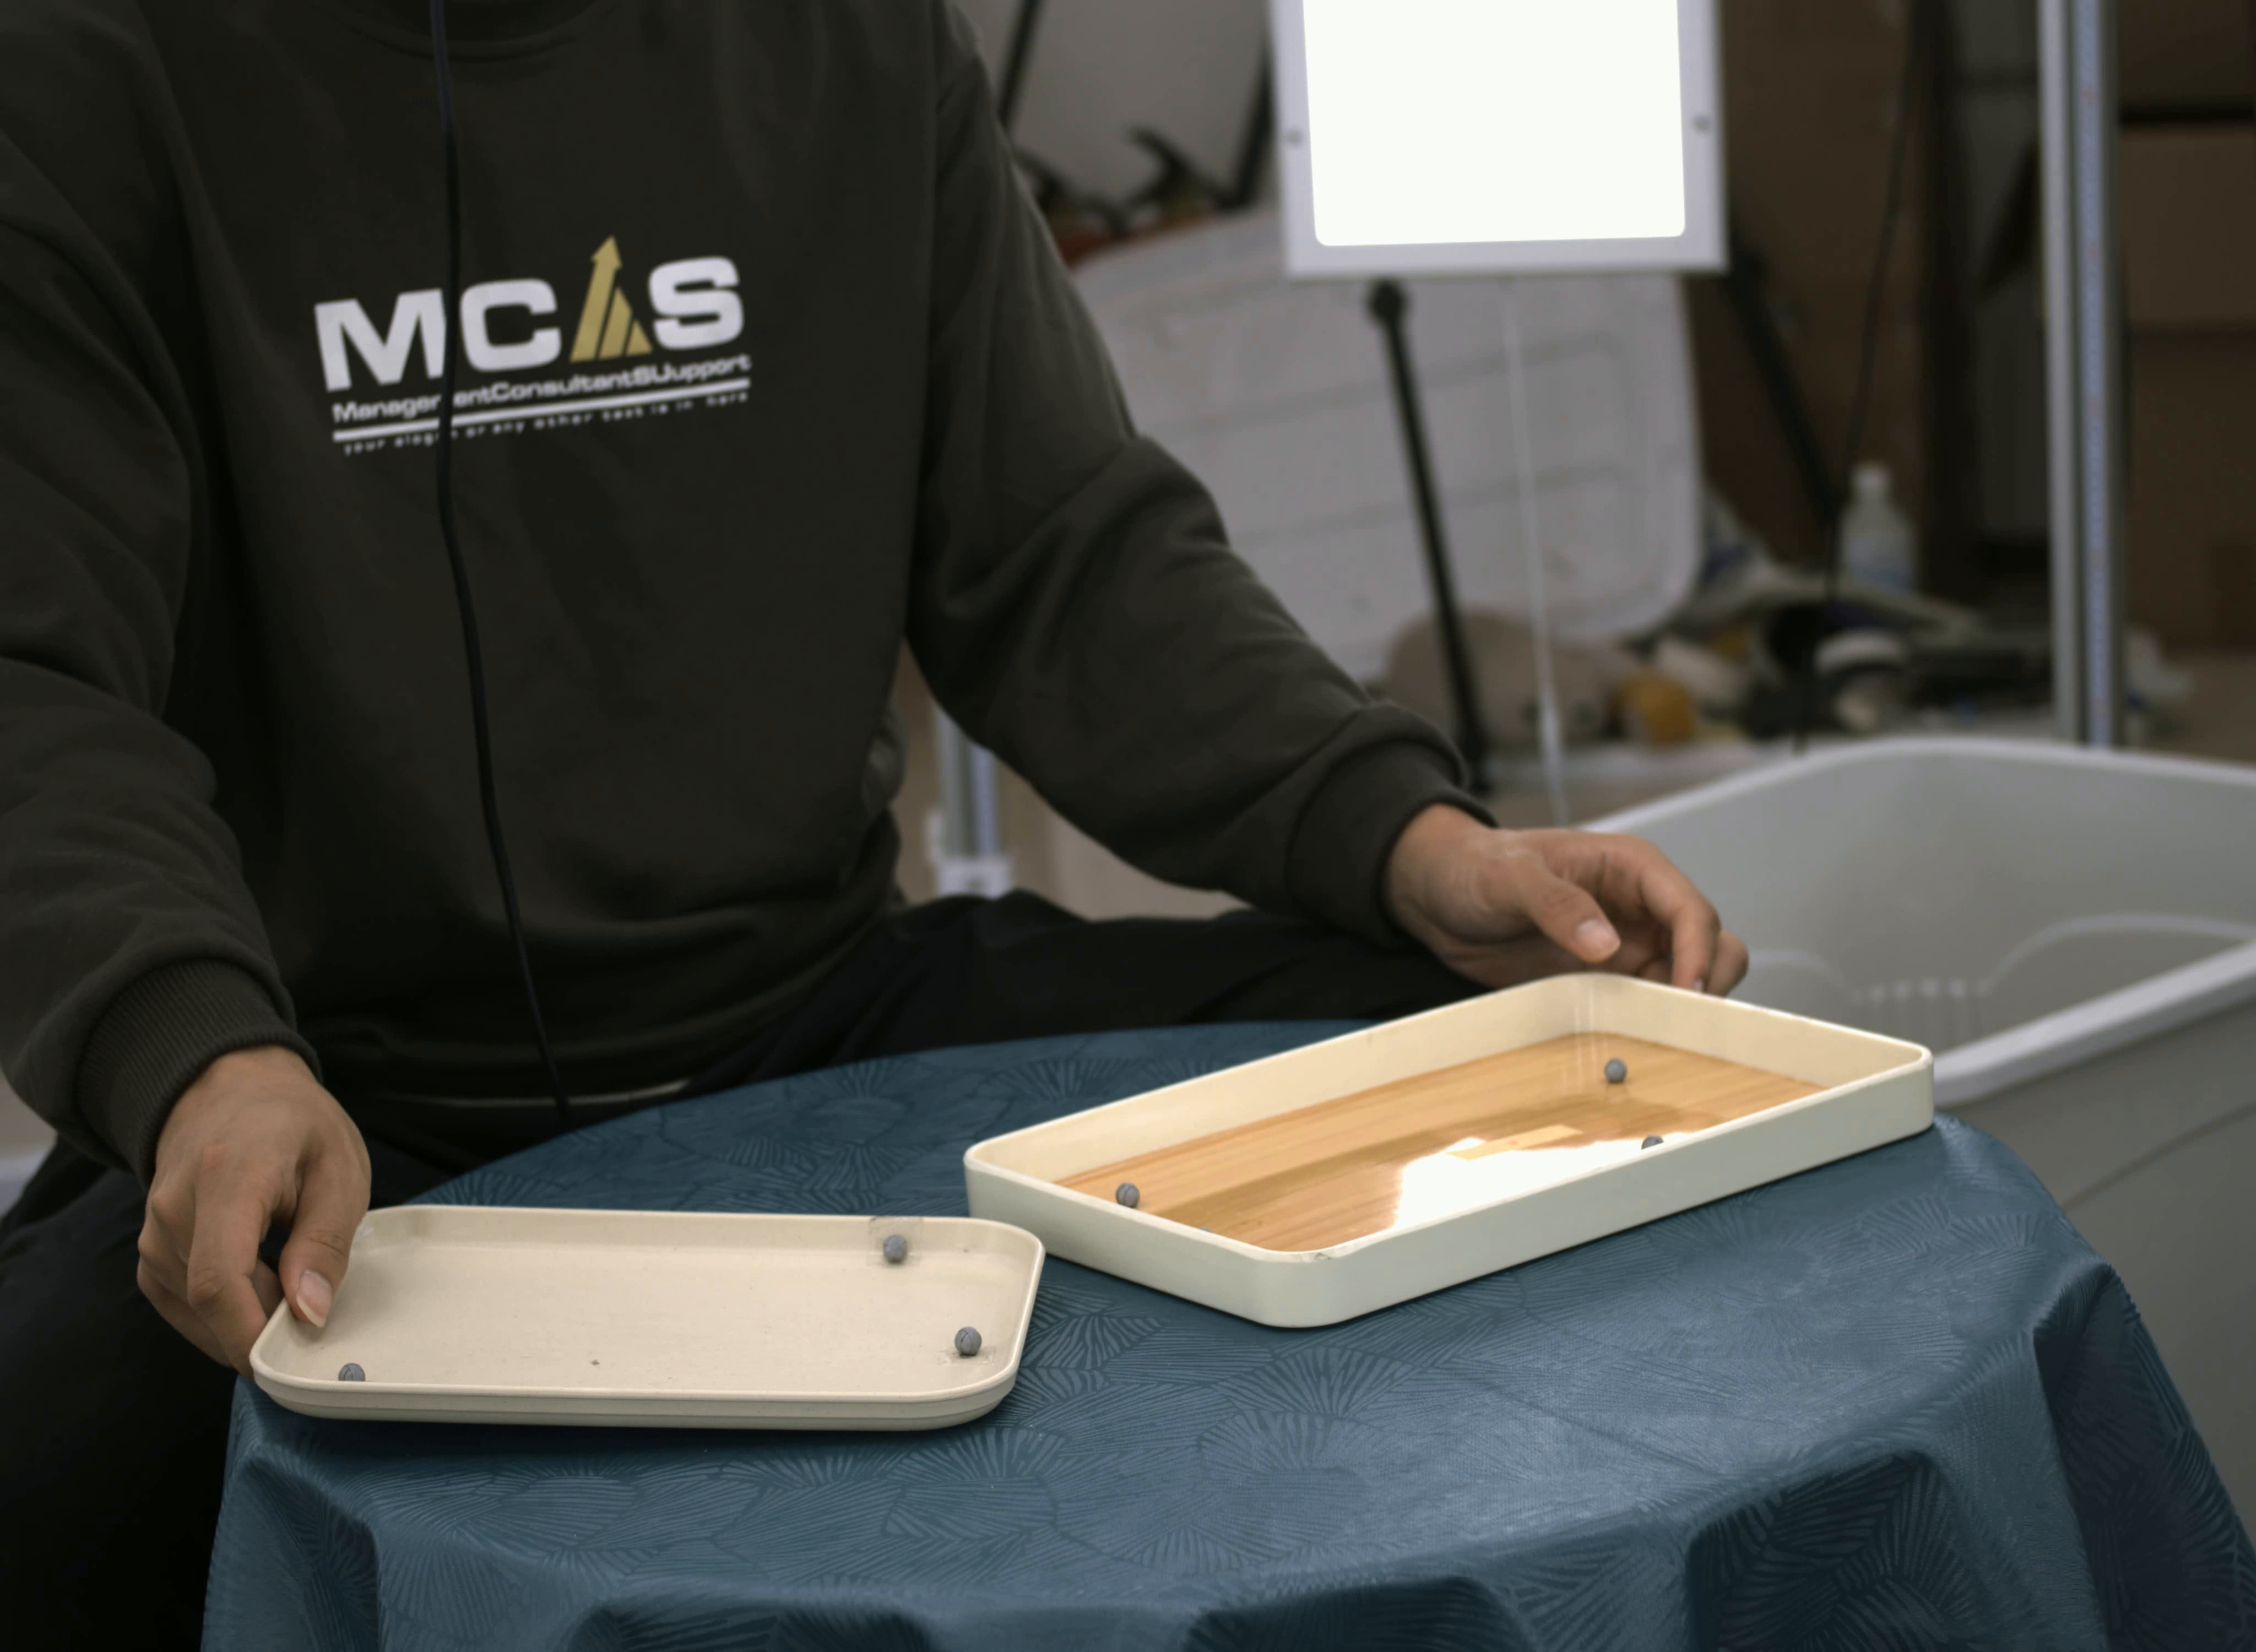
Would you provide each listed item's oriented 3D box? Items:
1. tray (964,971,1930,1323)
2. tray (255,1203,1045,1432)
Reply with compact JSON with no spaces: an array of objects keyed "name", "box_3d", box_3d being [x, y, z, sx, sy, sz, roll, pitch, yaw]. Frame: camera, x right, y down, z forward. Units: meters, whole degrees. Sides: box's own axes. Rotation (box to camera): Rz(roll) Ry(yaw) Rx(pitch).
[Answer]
[{"name":"tray","box_3d":[0.112,0.106,1.887,0.293,0.027,0.195,-14,16,-34]},{"name":"tray","box_3d":[-0.148,0.156,1.757,0.240,0.017,0.170,1,16,6]}]
